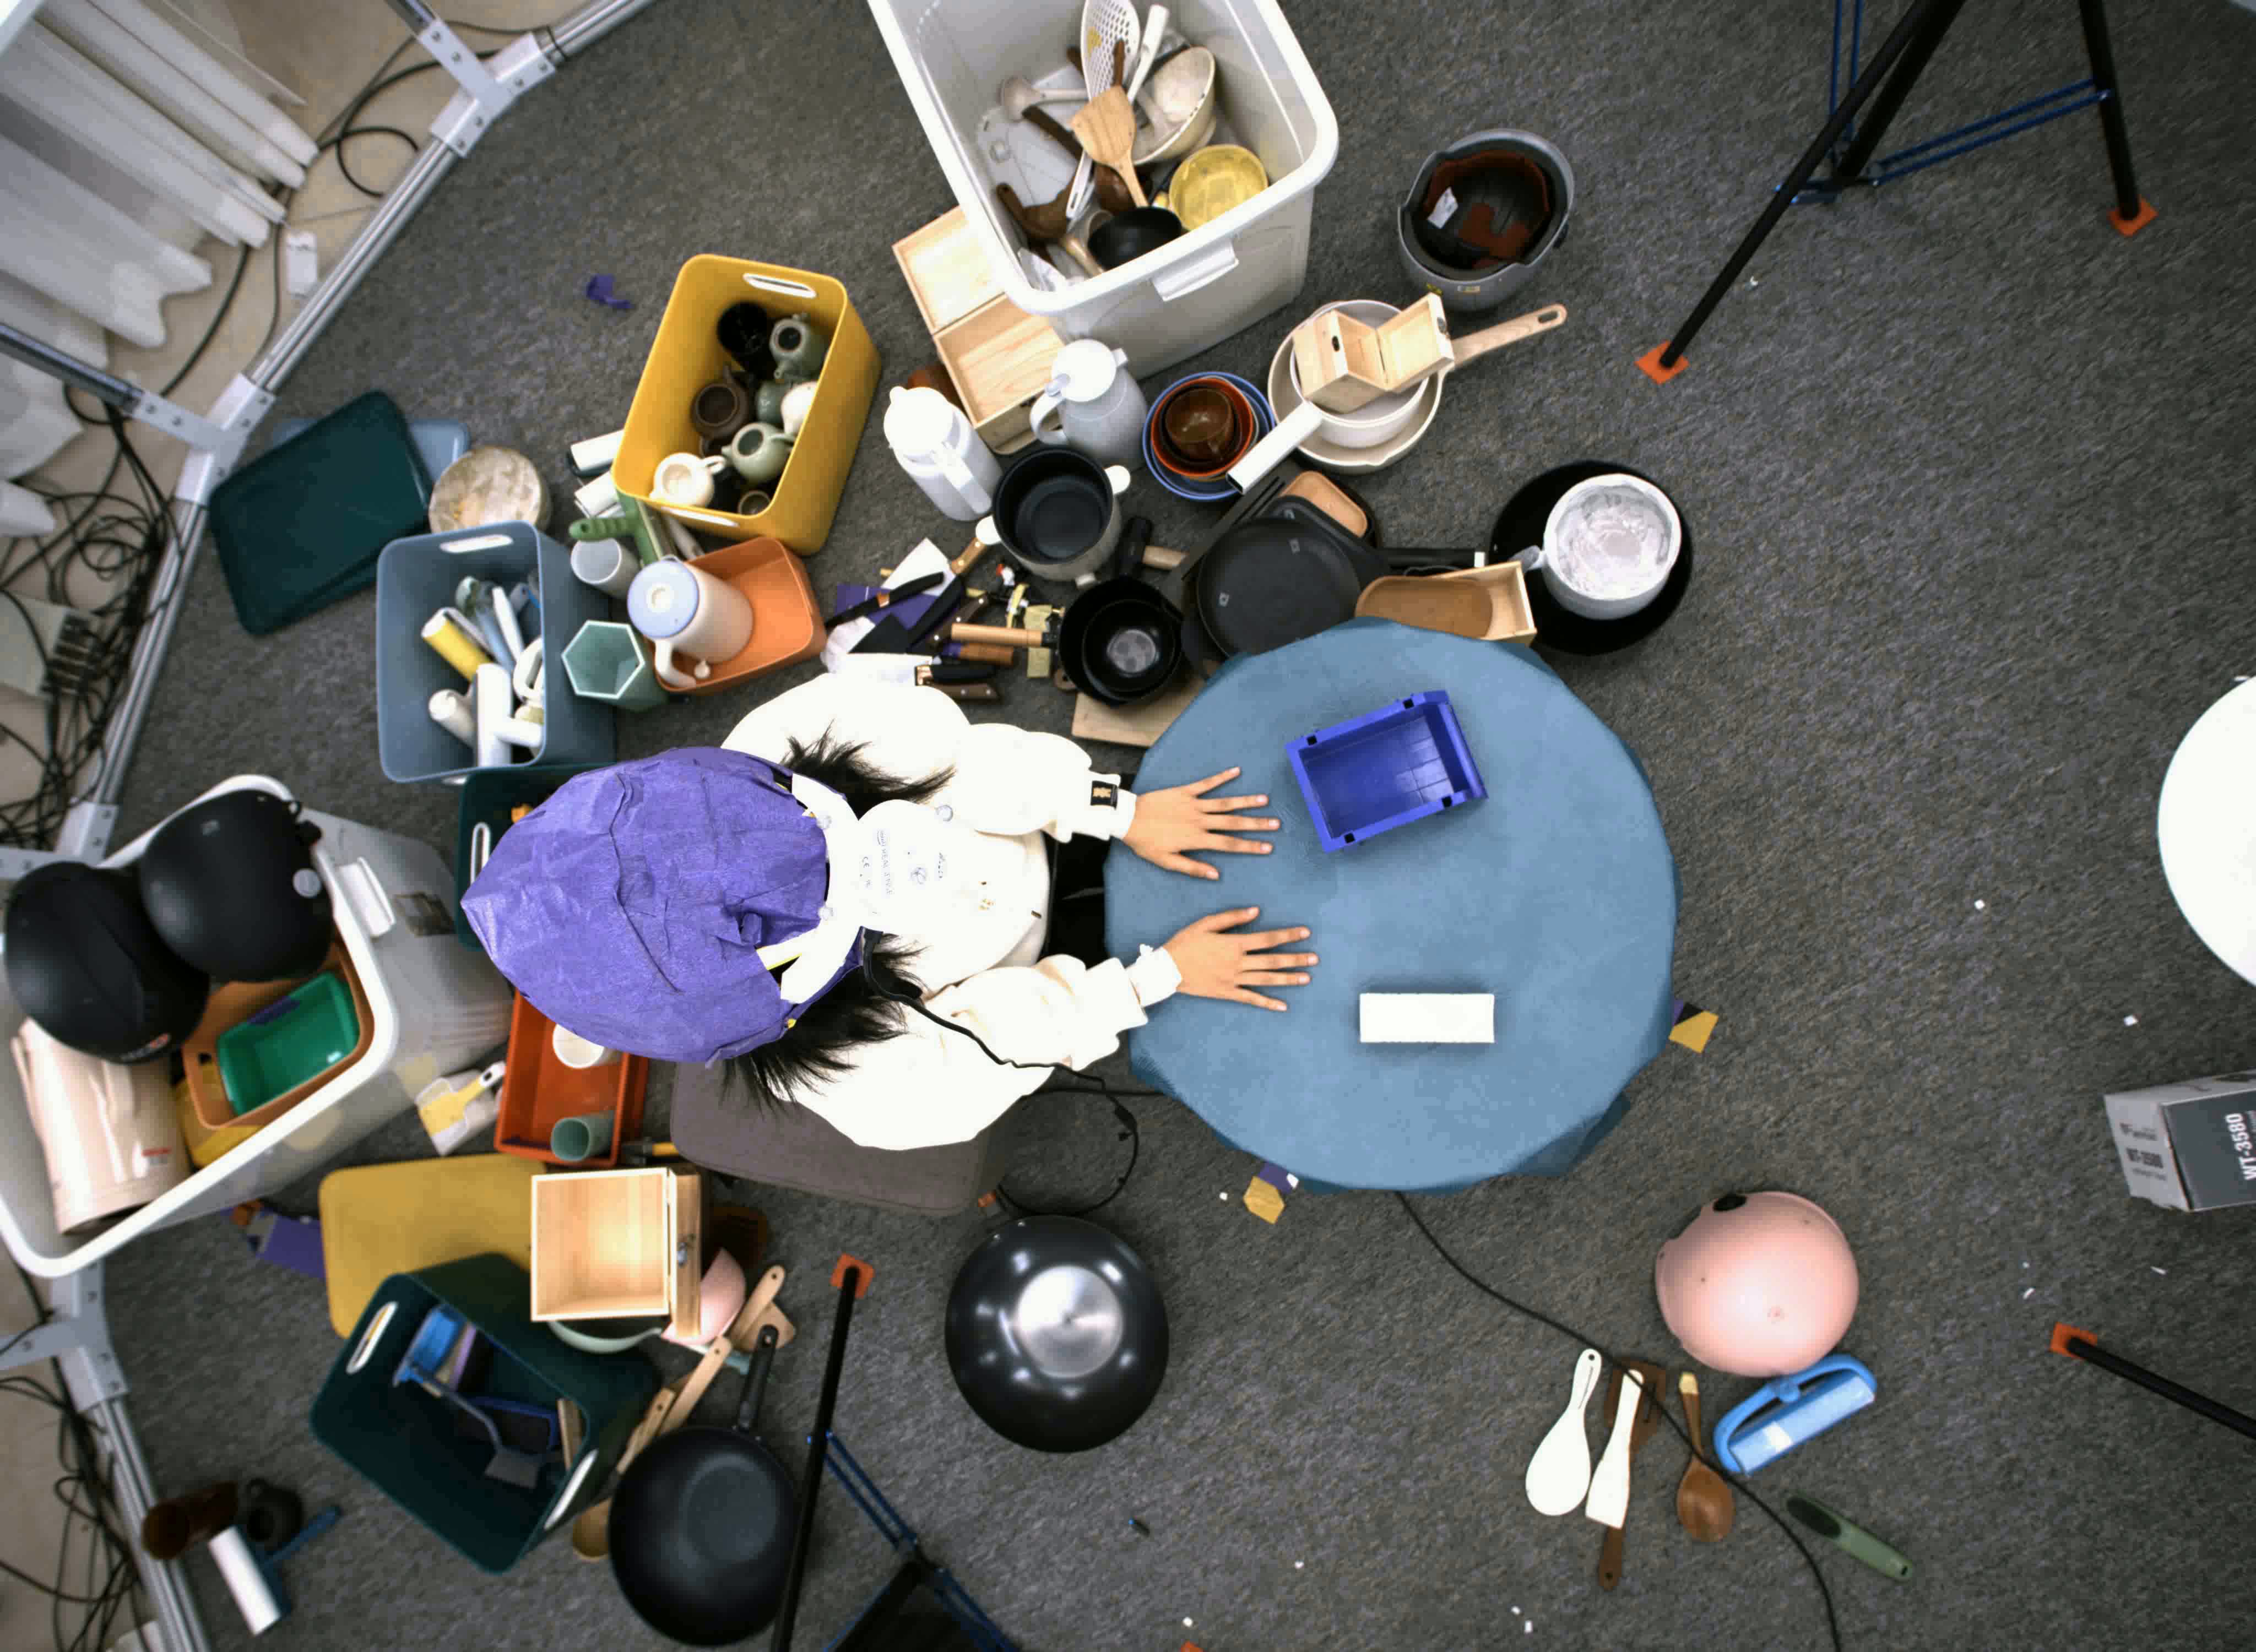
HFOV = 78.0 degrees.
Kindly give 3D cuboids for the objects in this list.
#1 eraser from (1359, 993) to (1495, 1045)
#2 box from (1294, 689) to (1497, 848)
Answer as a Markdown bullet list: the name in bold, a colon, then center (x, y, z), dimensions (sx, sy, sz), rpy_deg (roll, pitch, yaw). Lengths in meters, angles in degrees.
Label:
- **eraser**: center (0.307, 0.197, 1.422), dimensions (0.135, 0.046, 0.049), rpy_deg (-3, 86, 8)
- **box**: center (0.278, -0.062, 1.425), dimensions (0.180, 0.082, 0.123), rpy_deg (-19, 83, 11)
